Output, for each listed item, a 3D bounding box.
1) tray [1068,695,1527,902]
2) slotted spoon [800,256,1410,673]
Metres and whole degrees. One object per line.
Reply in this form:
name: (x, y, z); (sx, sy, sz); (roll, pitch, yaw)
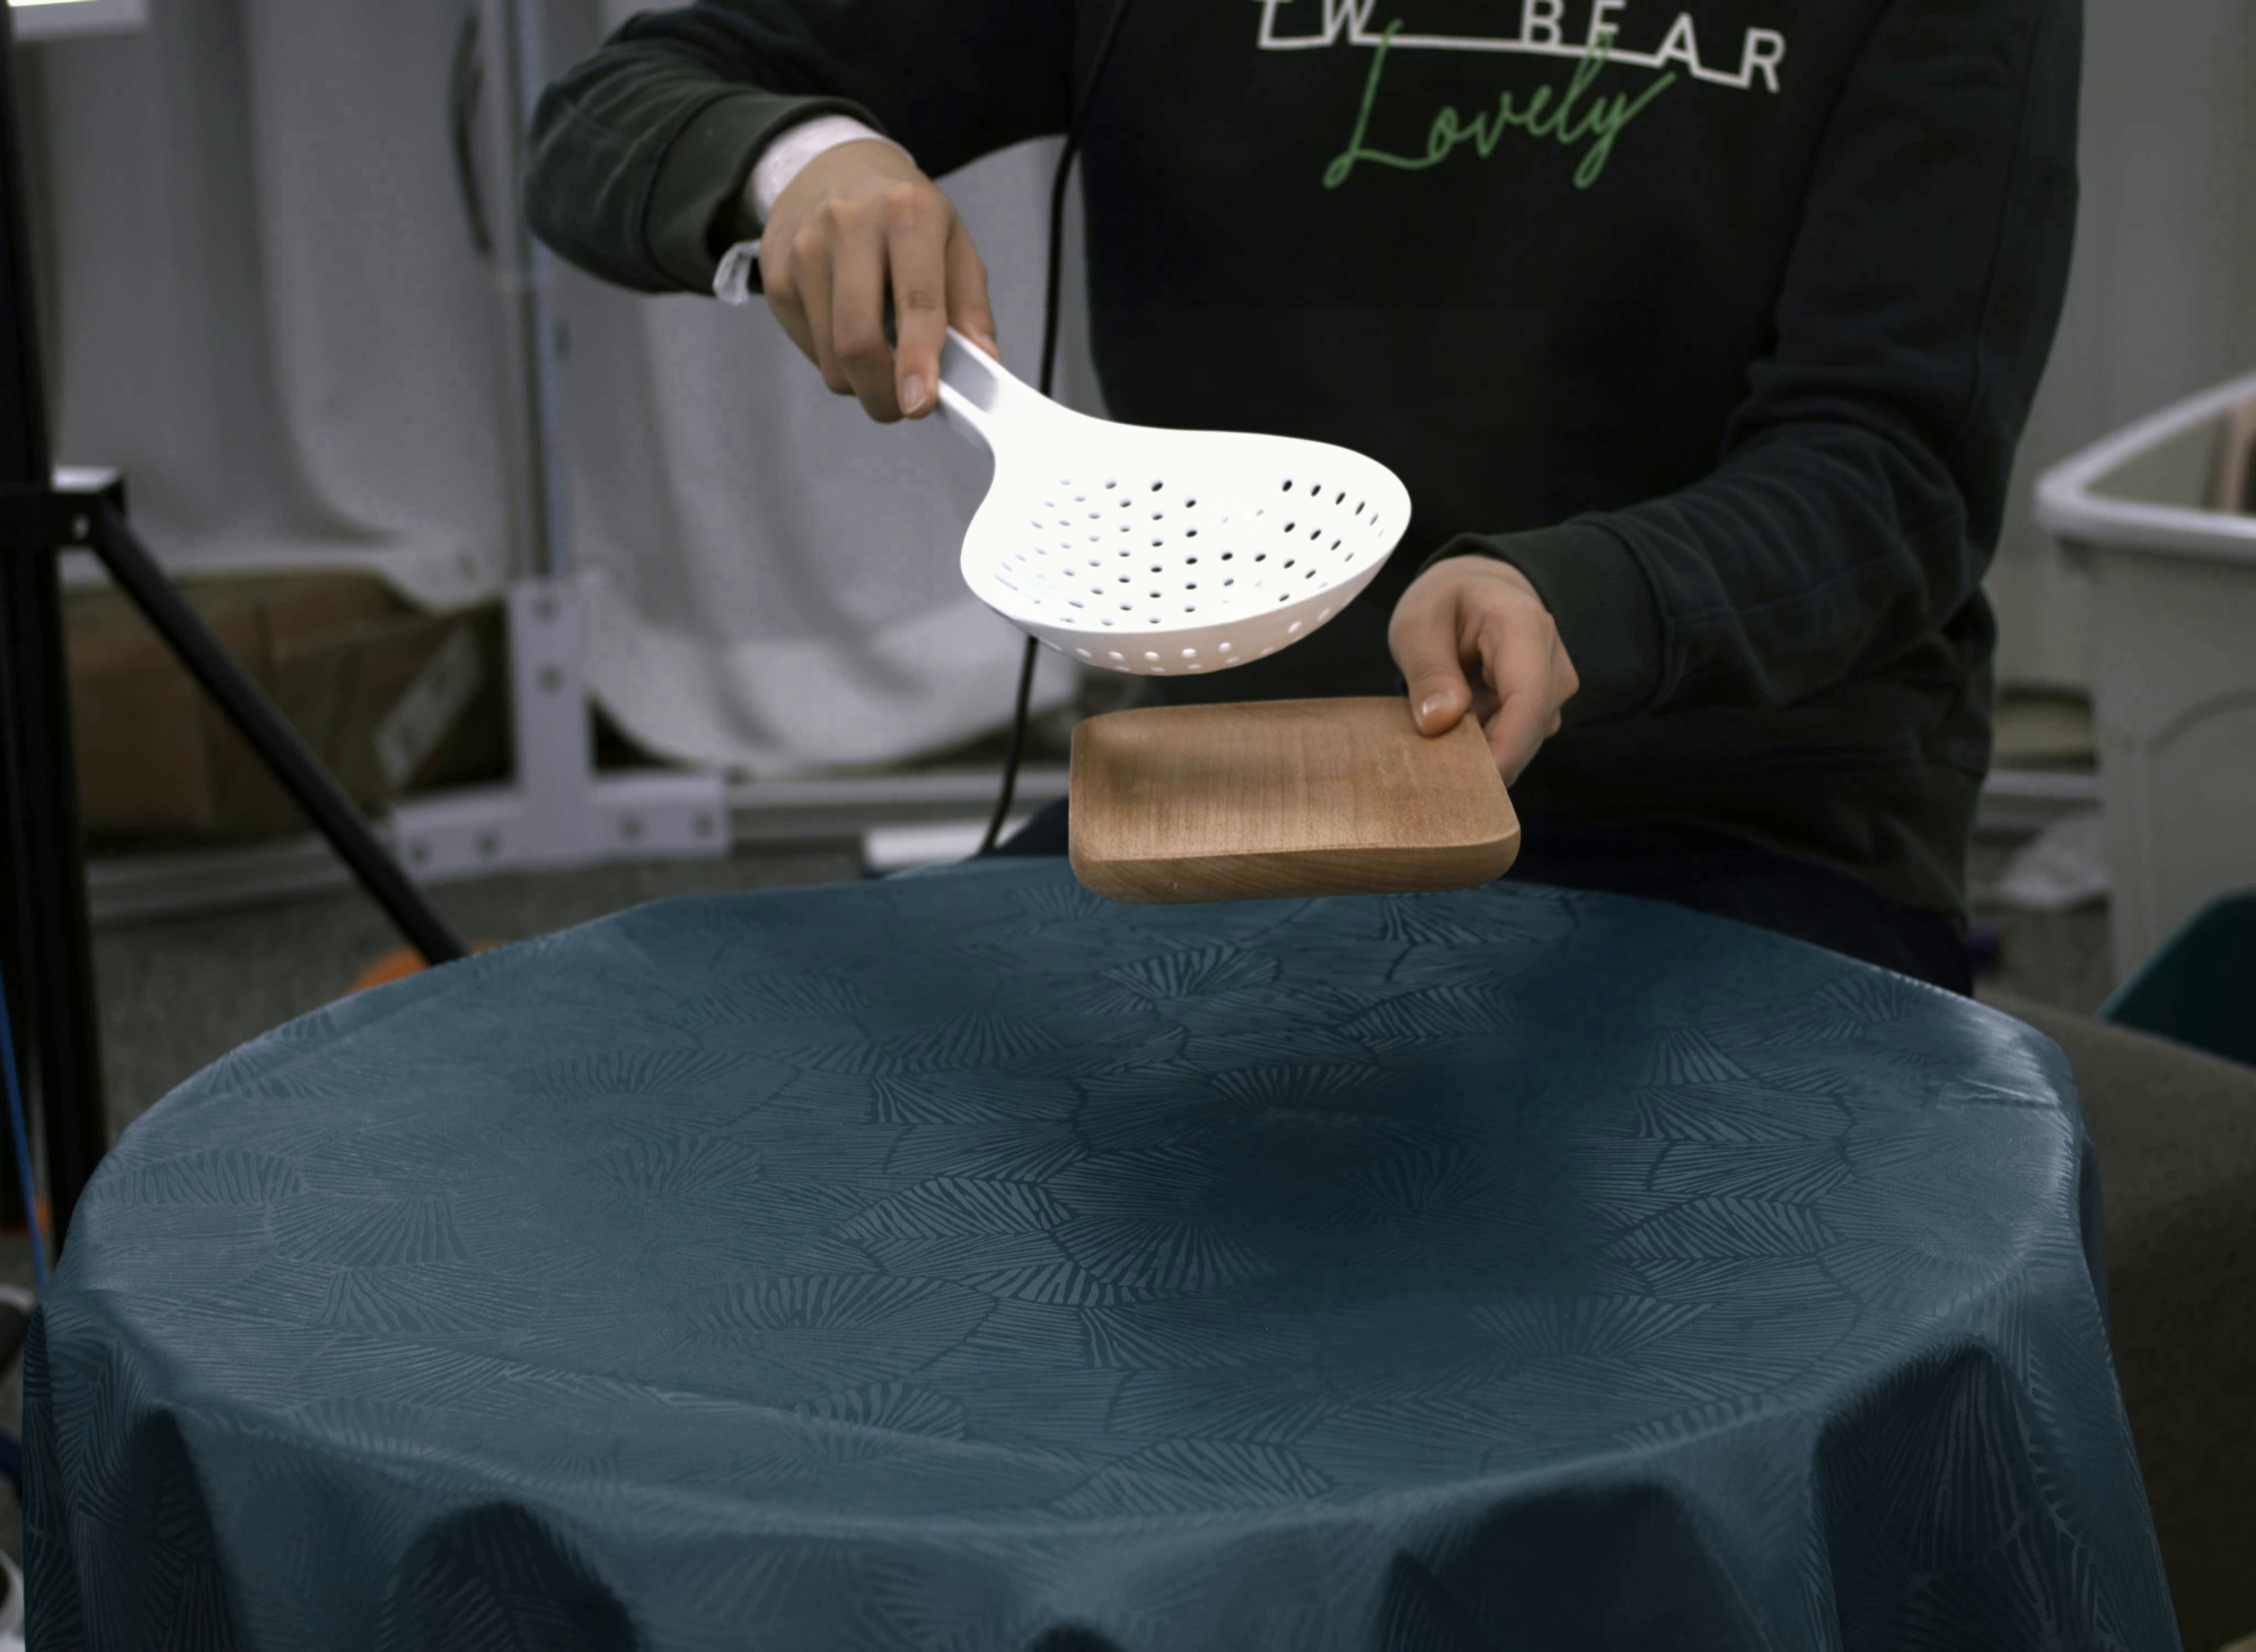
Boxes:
tray: (0.047, -0.010, 1.577); (0.130, 0.023, 0.251); (-1, 10, 1)
slotted spoon: (-0.028, -0.123, 1.696); (0.134, 0.045, 0.357); (-18, 33, -19)
